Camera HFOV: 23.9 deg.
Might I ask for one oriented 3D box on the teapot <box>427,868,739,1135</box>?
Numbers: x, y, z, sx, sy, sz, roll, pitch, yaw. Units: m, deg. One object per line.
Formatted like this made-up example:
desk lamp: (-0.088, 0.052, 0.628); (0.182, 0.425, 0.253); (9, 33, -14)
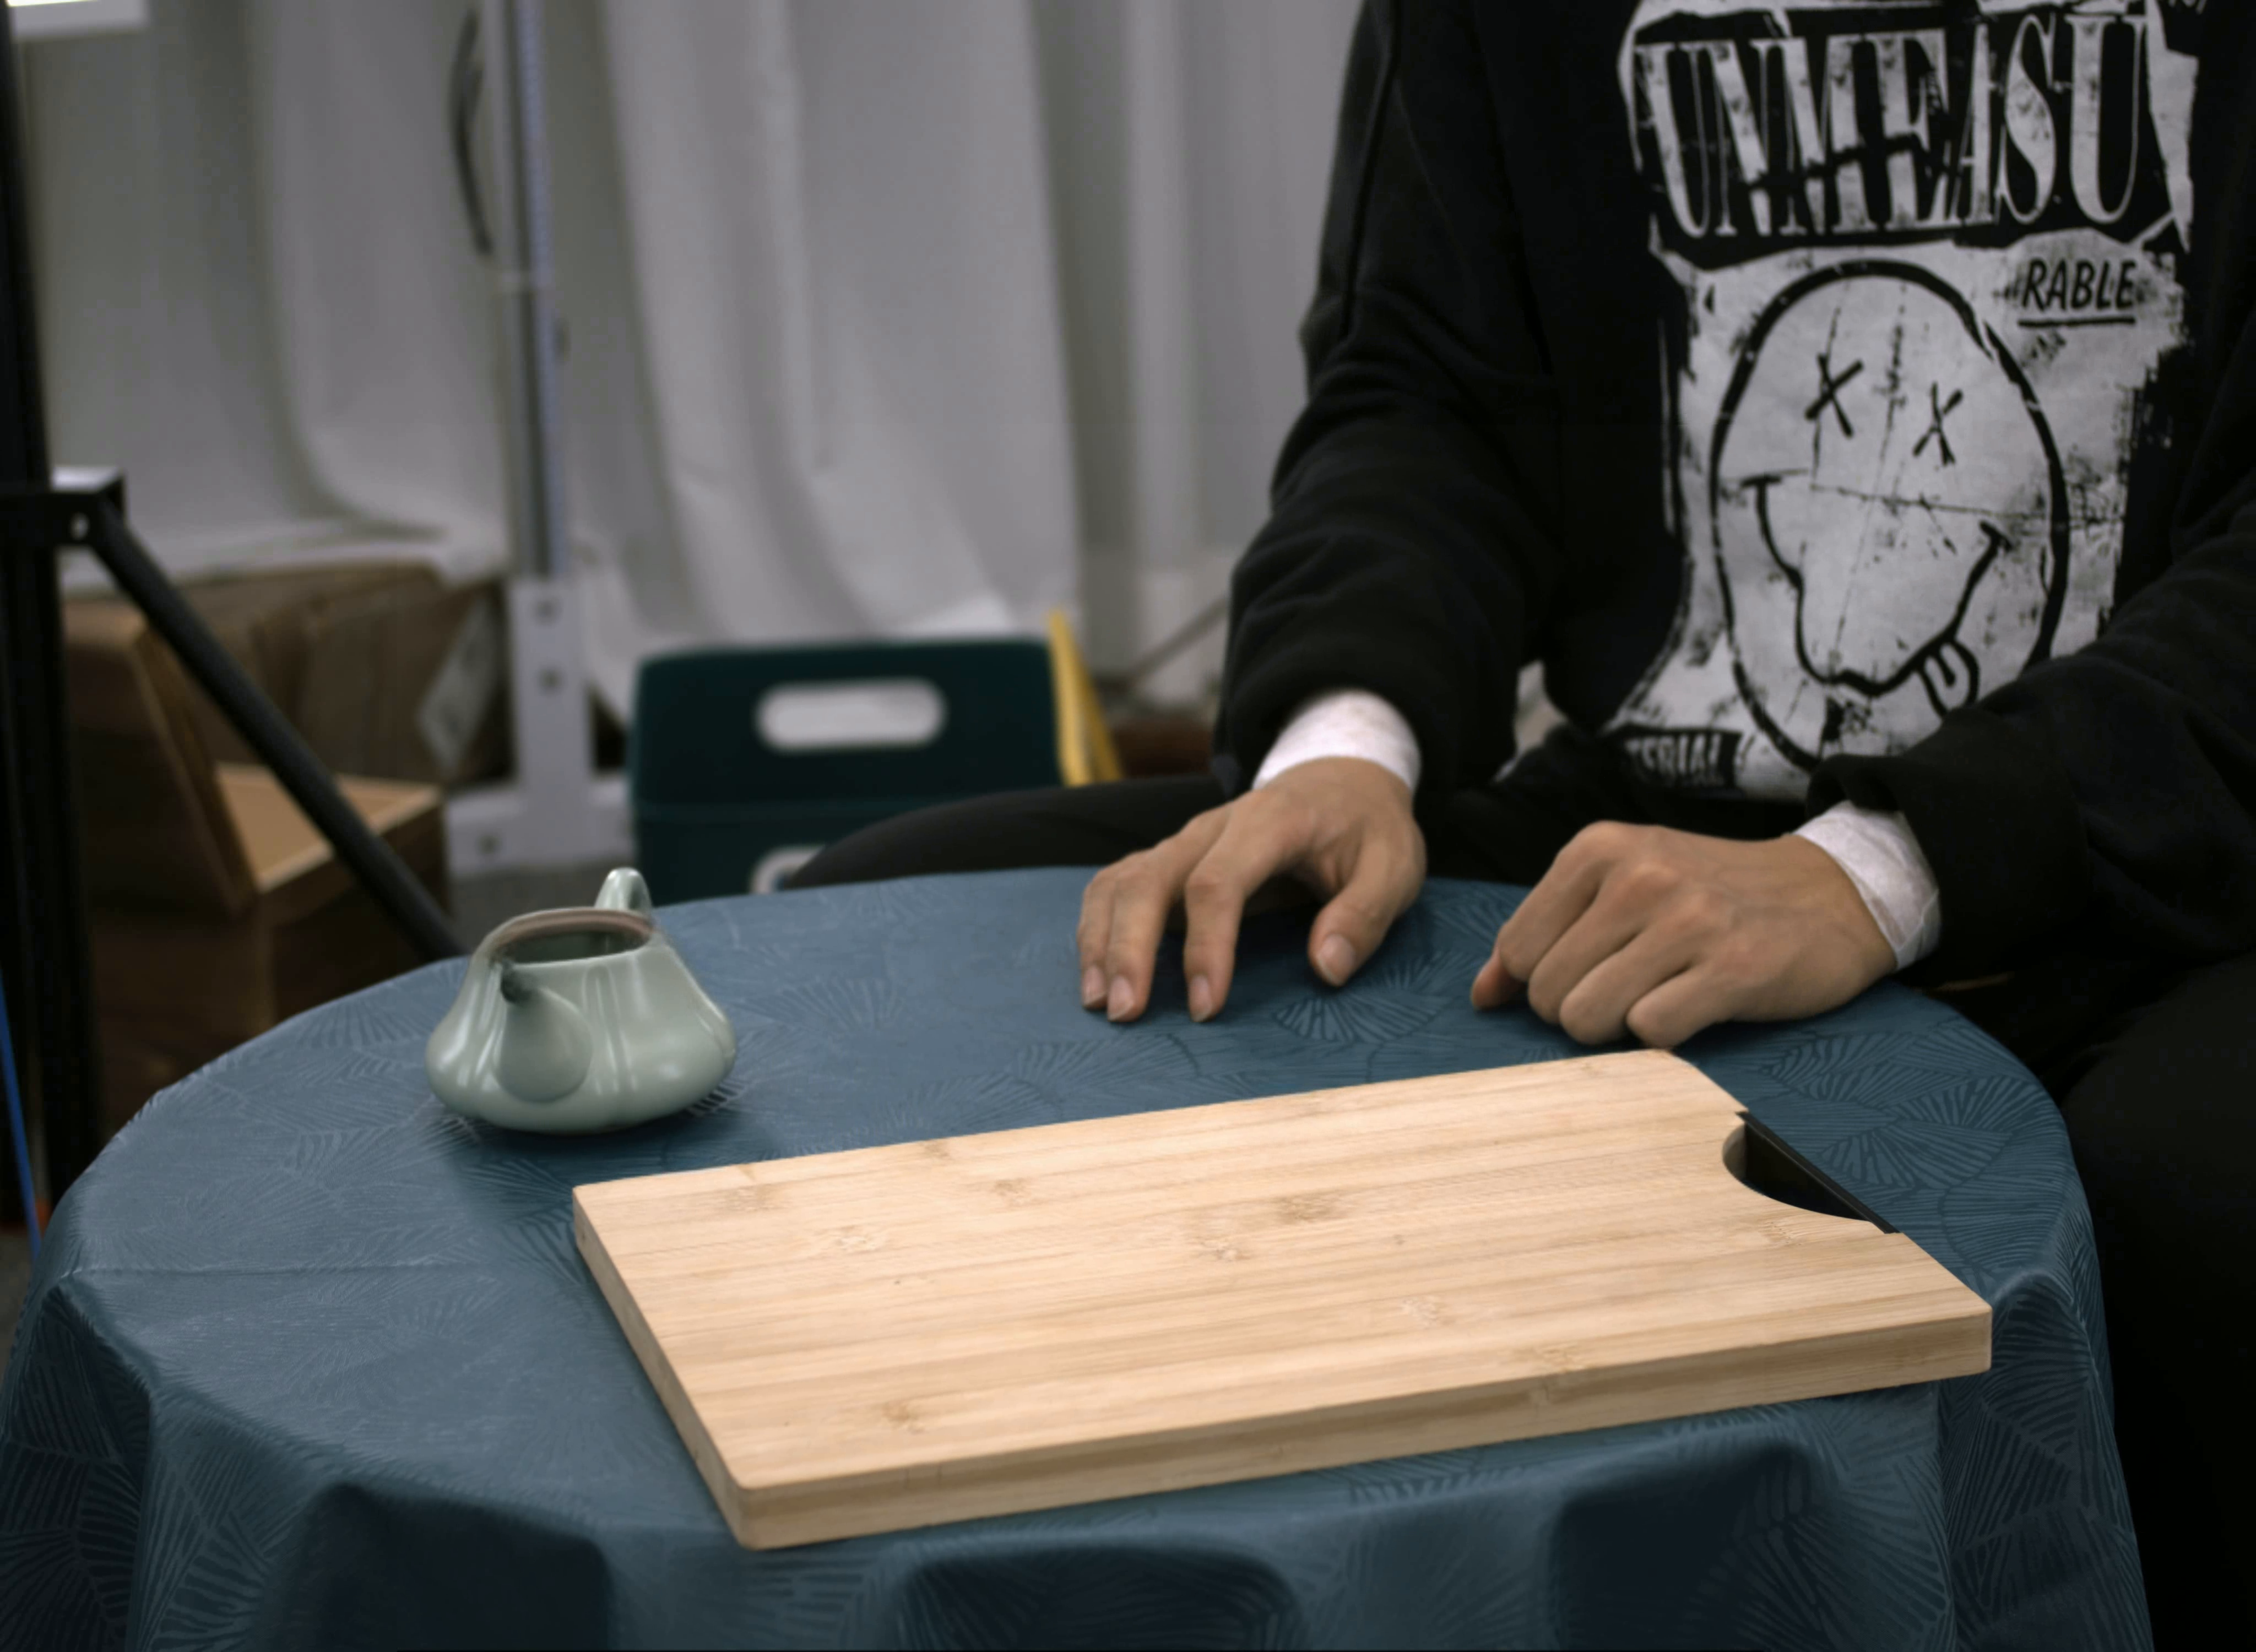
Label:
teapot: (-0.168, 0.057, 1.651); (0.096, 0.061, 0.136); (-1, 16, 9)

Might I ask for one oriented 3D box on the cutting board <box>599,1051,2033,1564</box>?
cutting board: (0.040, 0.125, 1.460); (0.343, 0.023, 0.254); (-7, 16, -14)
